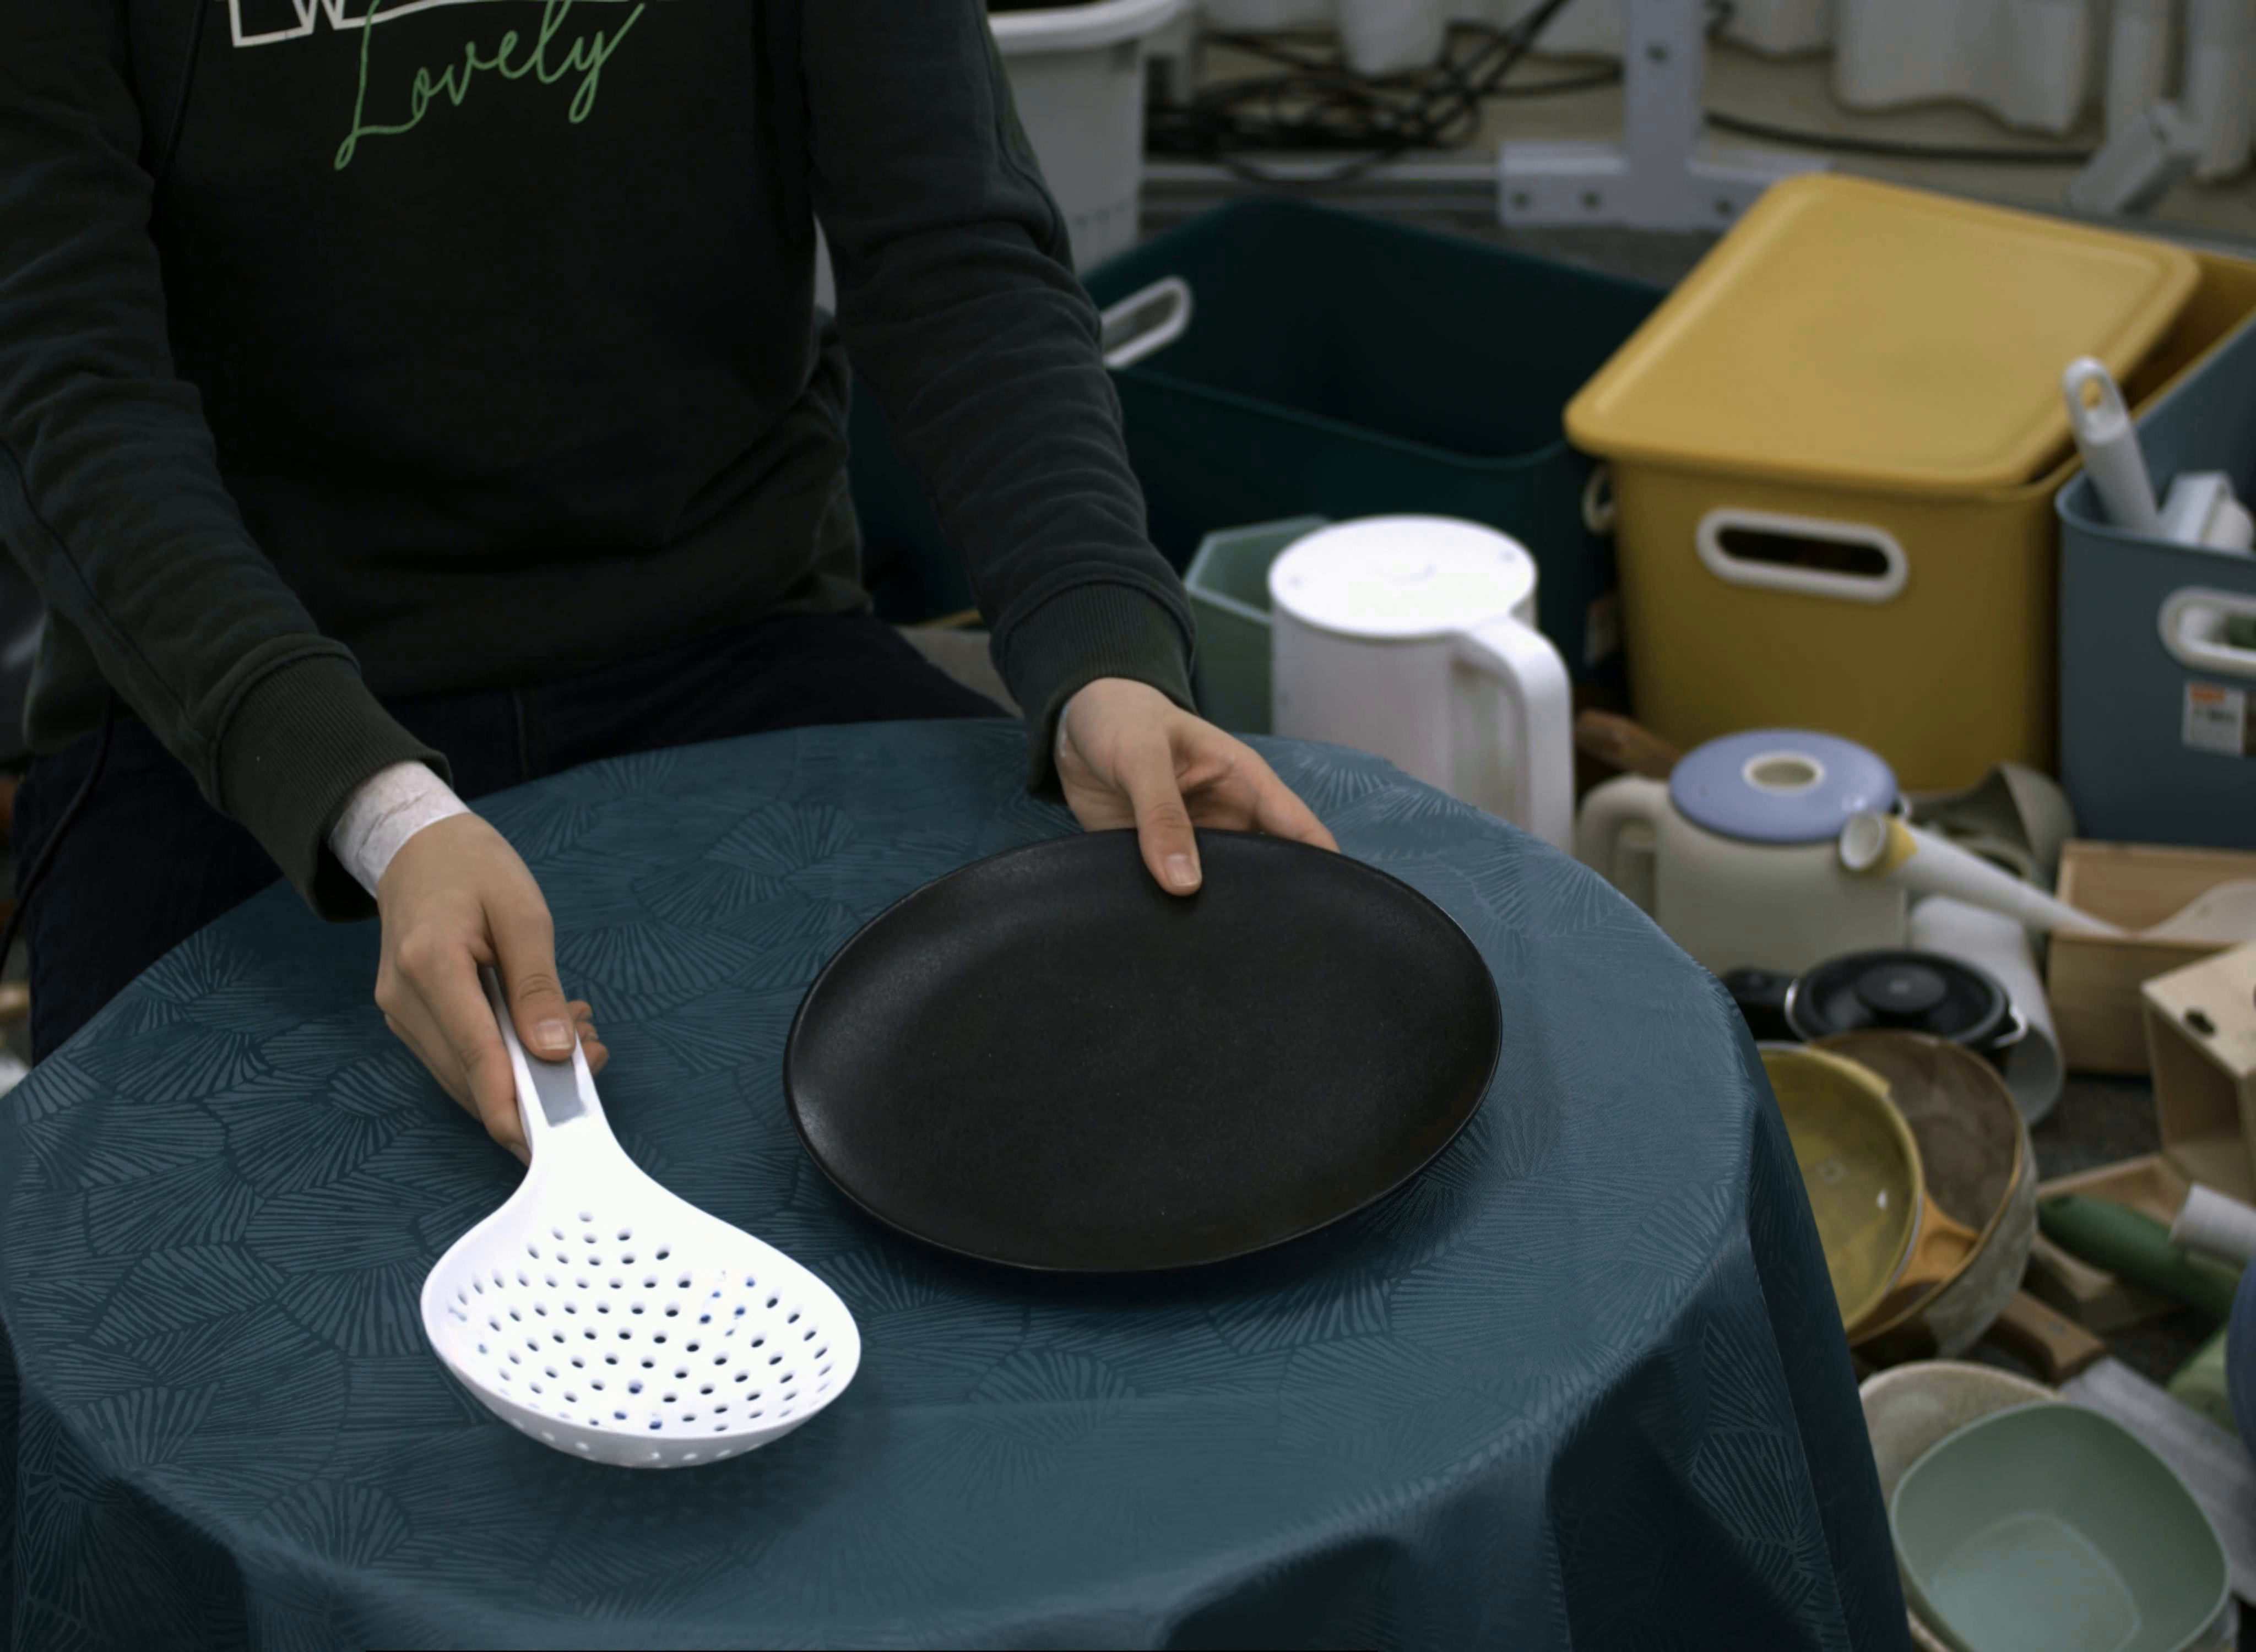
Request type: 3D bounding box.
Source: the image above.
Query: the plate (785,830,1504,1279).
[{"bbox_3d":[0.006,0.079,1.892,0.243,0.023,0.249,-3,34,3],"label":"plate"}]

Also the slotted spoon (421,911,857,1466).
[{"bbox_3d":[-0.178,0.112,1.826,0.136,0.045,0.354,3,29,-17],"label":"slotted spoon"}]
